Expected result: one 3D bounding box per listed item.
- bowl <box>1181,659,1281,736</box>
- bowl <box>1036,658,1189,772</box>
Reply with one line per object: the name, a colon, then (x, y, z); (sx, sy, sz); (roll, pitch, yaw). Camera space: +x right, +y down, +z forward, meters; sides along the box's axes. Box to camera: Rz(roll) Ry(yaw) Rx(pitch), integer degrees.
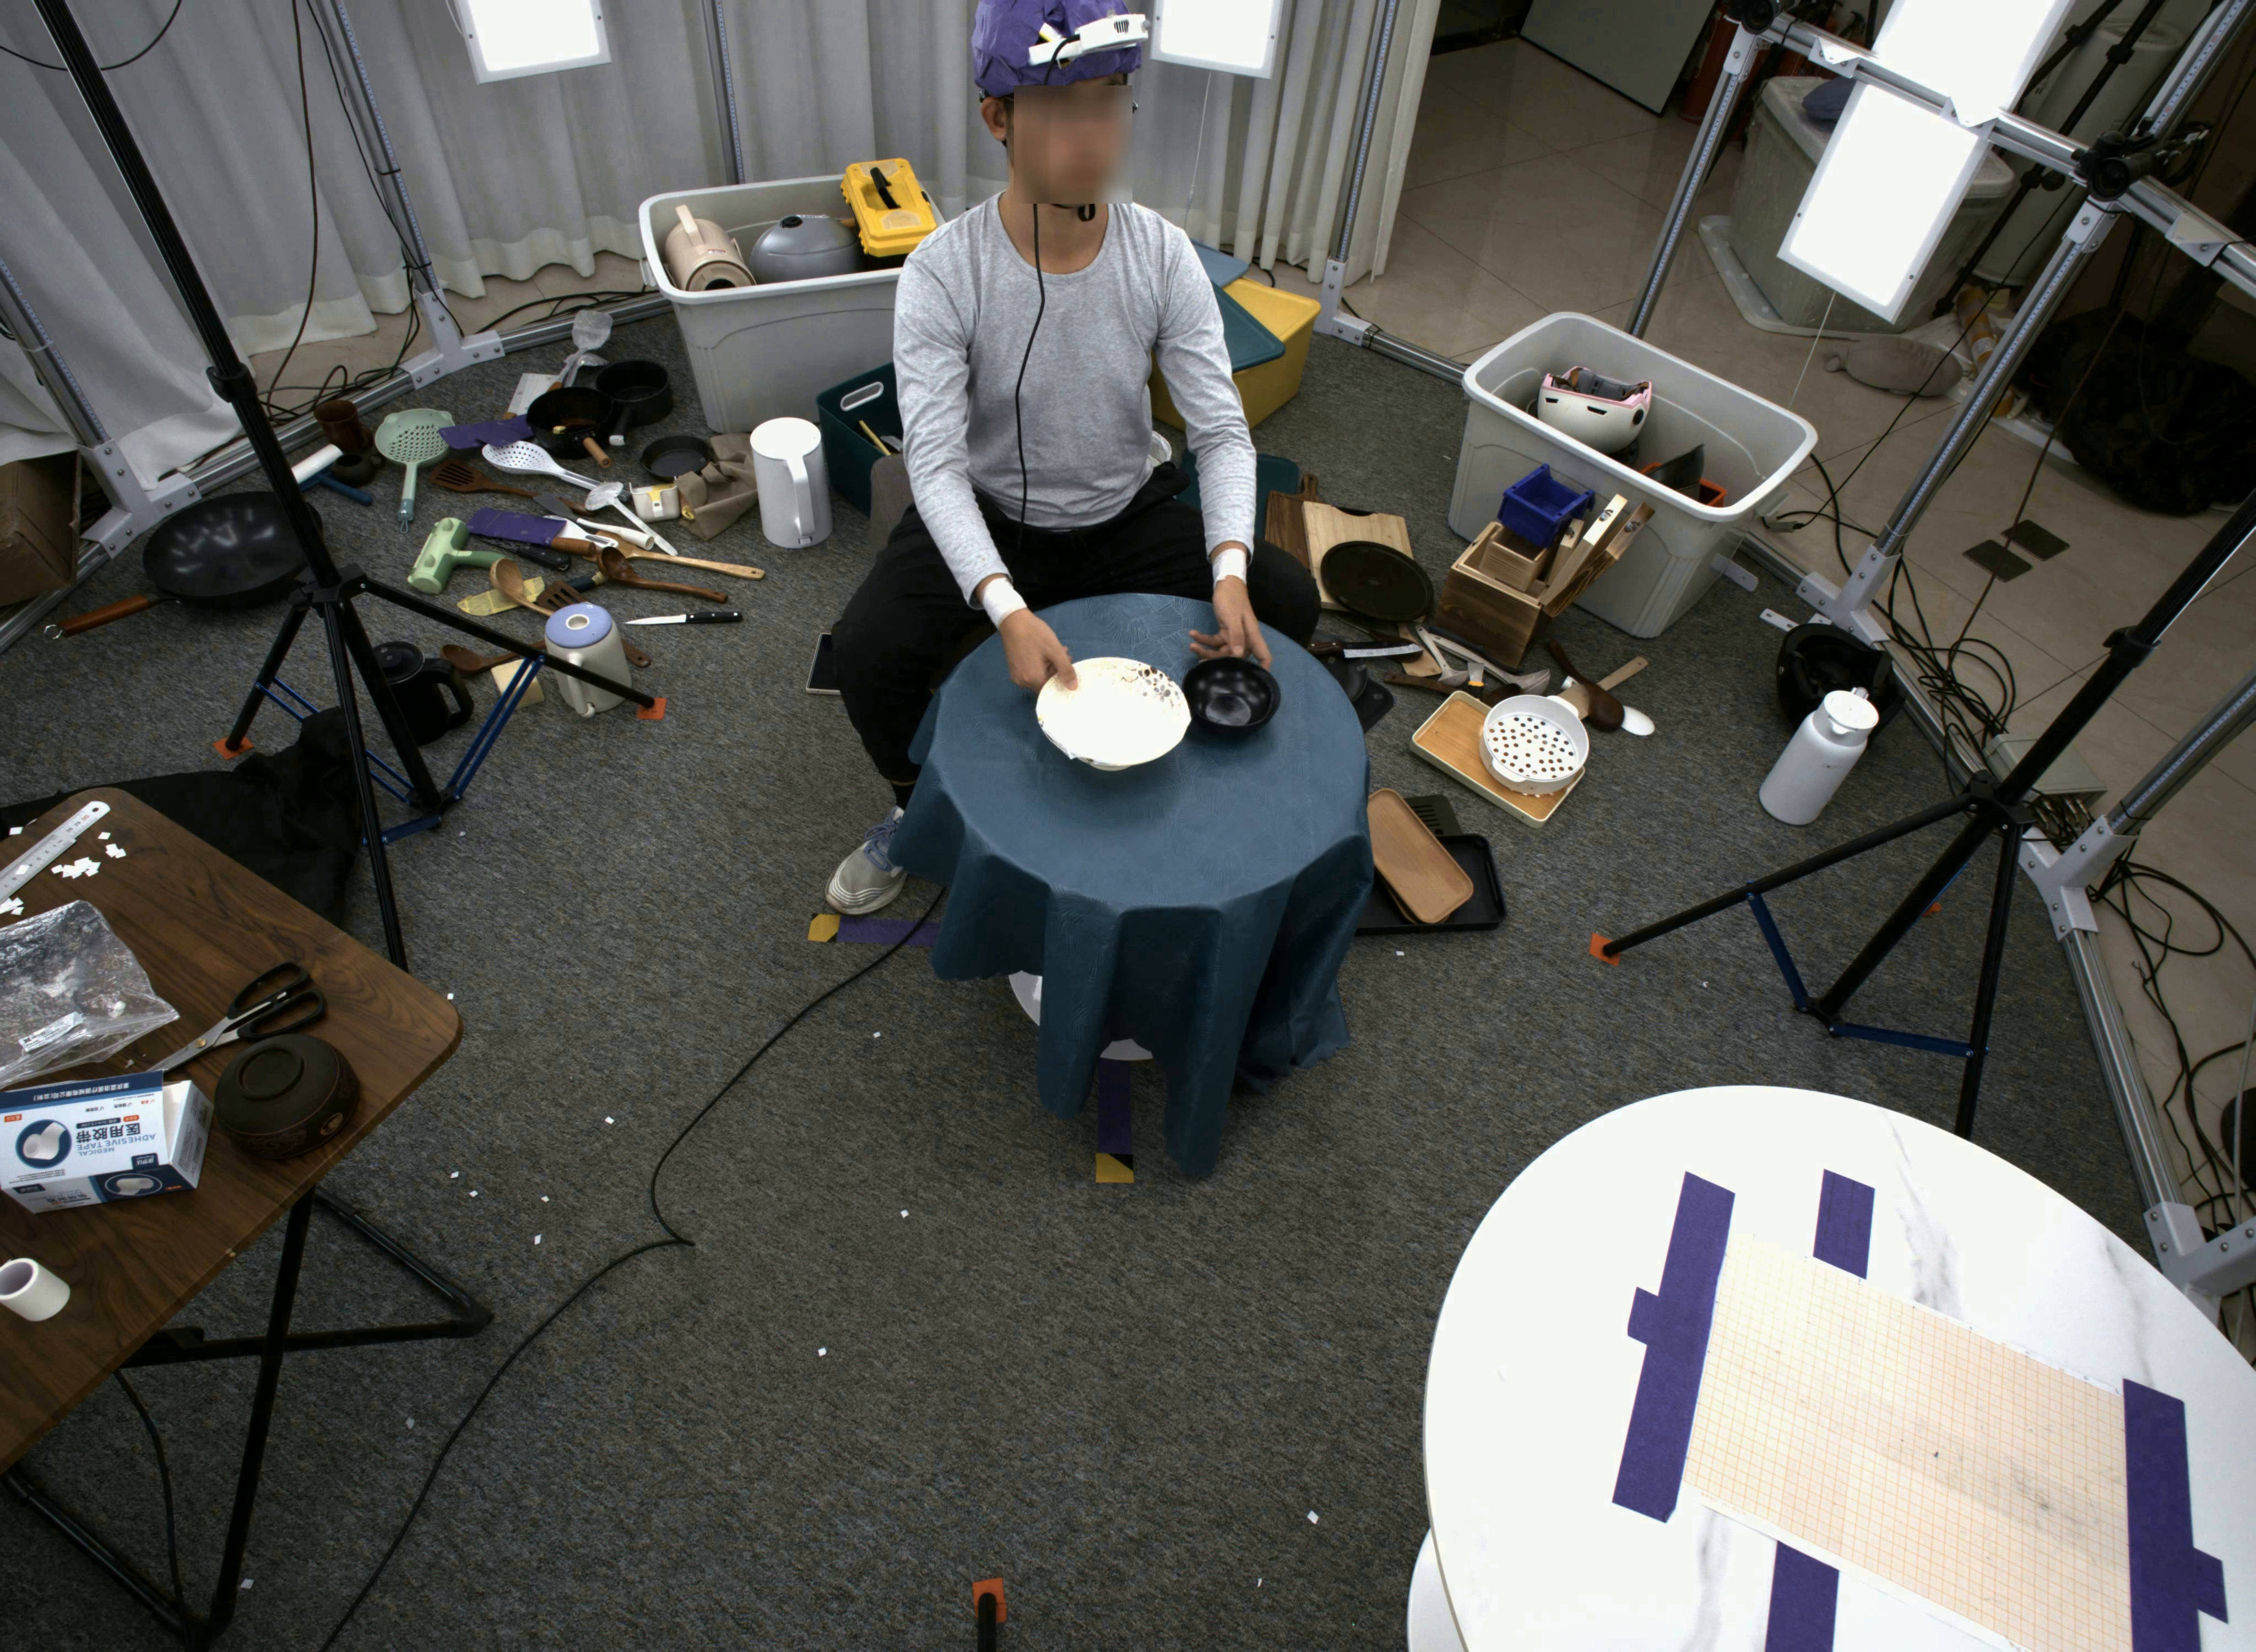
bowl: (0.142, -0.172, 1.796); (0.140, 0.048, 0.143); (2, 46, -3)
bowl: (-0.023, -0.130, 1.729); (0.204, 0.076, 0.209); (2, 48, -3)
